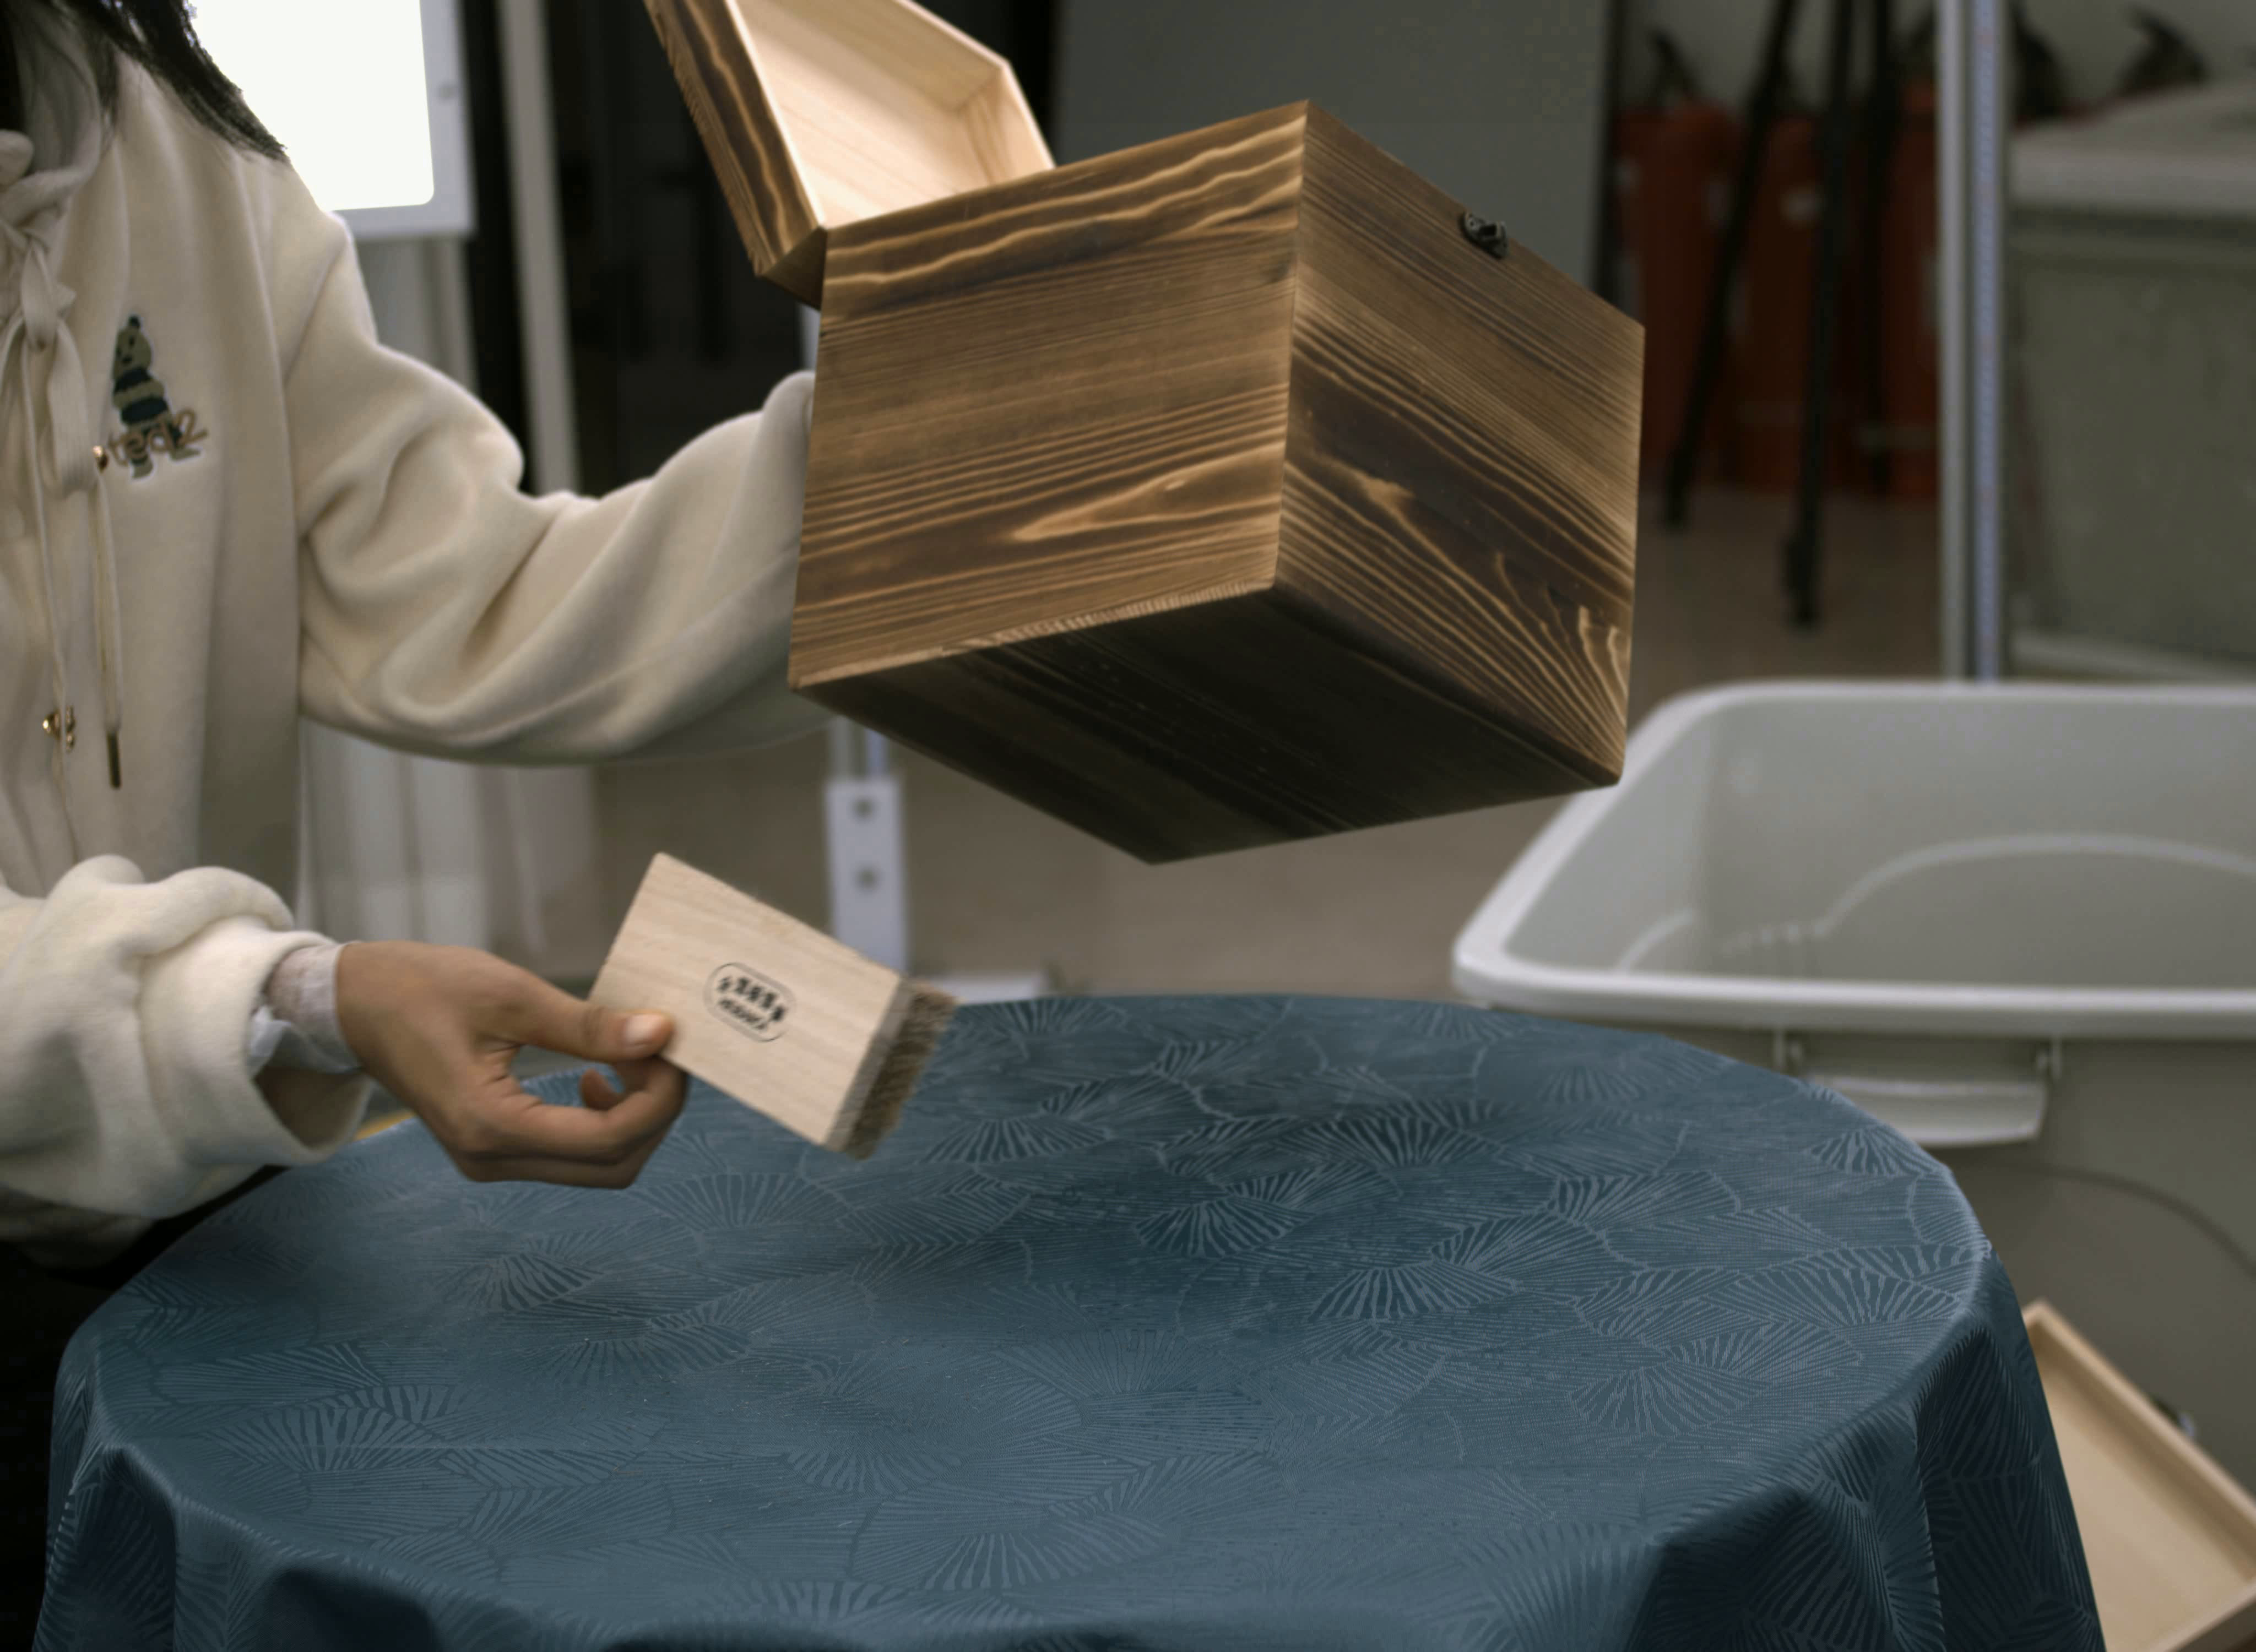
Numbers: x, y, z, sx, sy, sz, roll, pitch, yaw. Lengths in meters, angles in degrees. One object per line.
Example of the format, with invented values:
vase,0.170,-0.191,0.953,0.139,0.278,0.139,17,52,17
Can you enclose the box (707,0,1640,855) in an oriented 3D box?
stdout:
box,-0.003,-0.196,1.872,0.324,0.380,0.205,-10,-23,38

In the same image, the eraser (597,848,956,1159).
eraser,-0.109,0.055,1.659,0.028,0.057,0.141,25,0,-38
